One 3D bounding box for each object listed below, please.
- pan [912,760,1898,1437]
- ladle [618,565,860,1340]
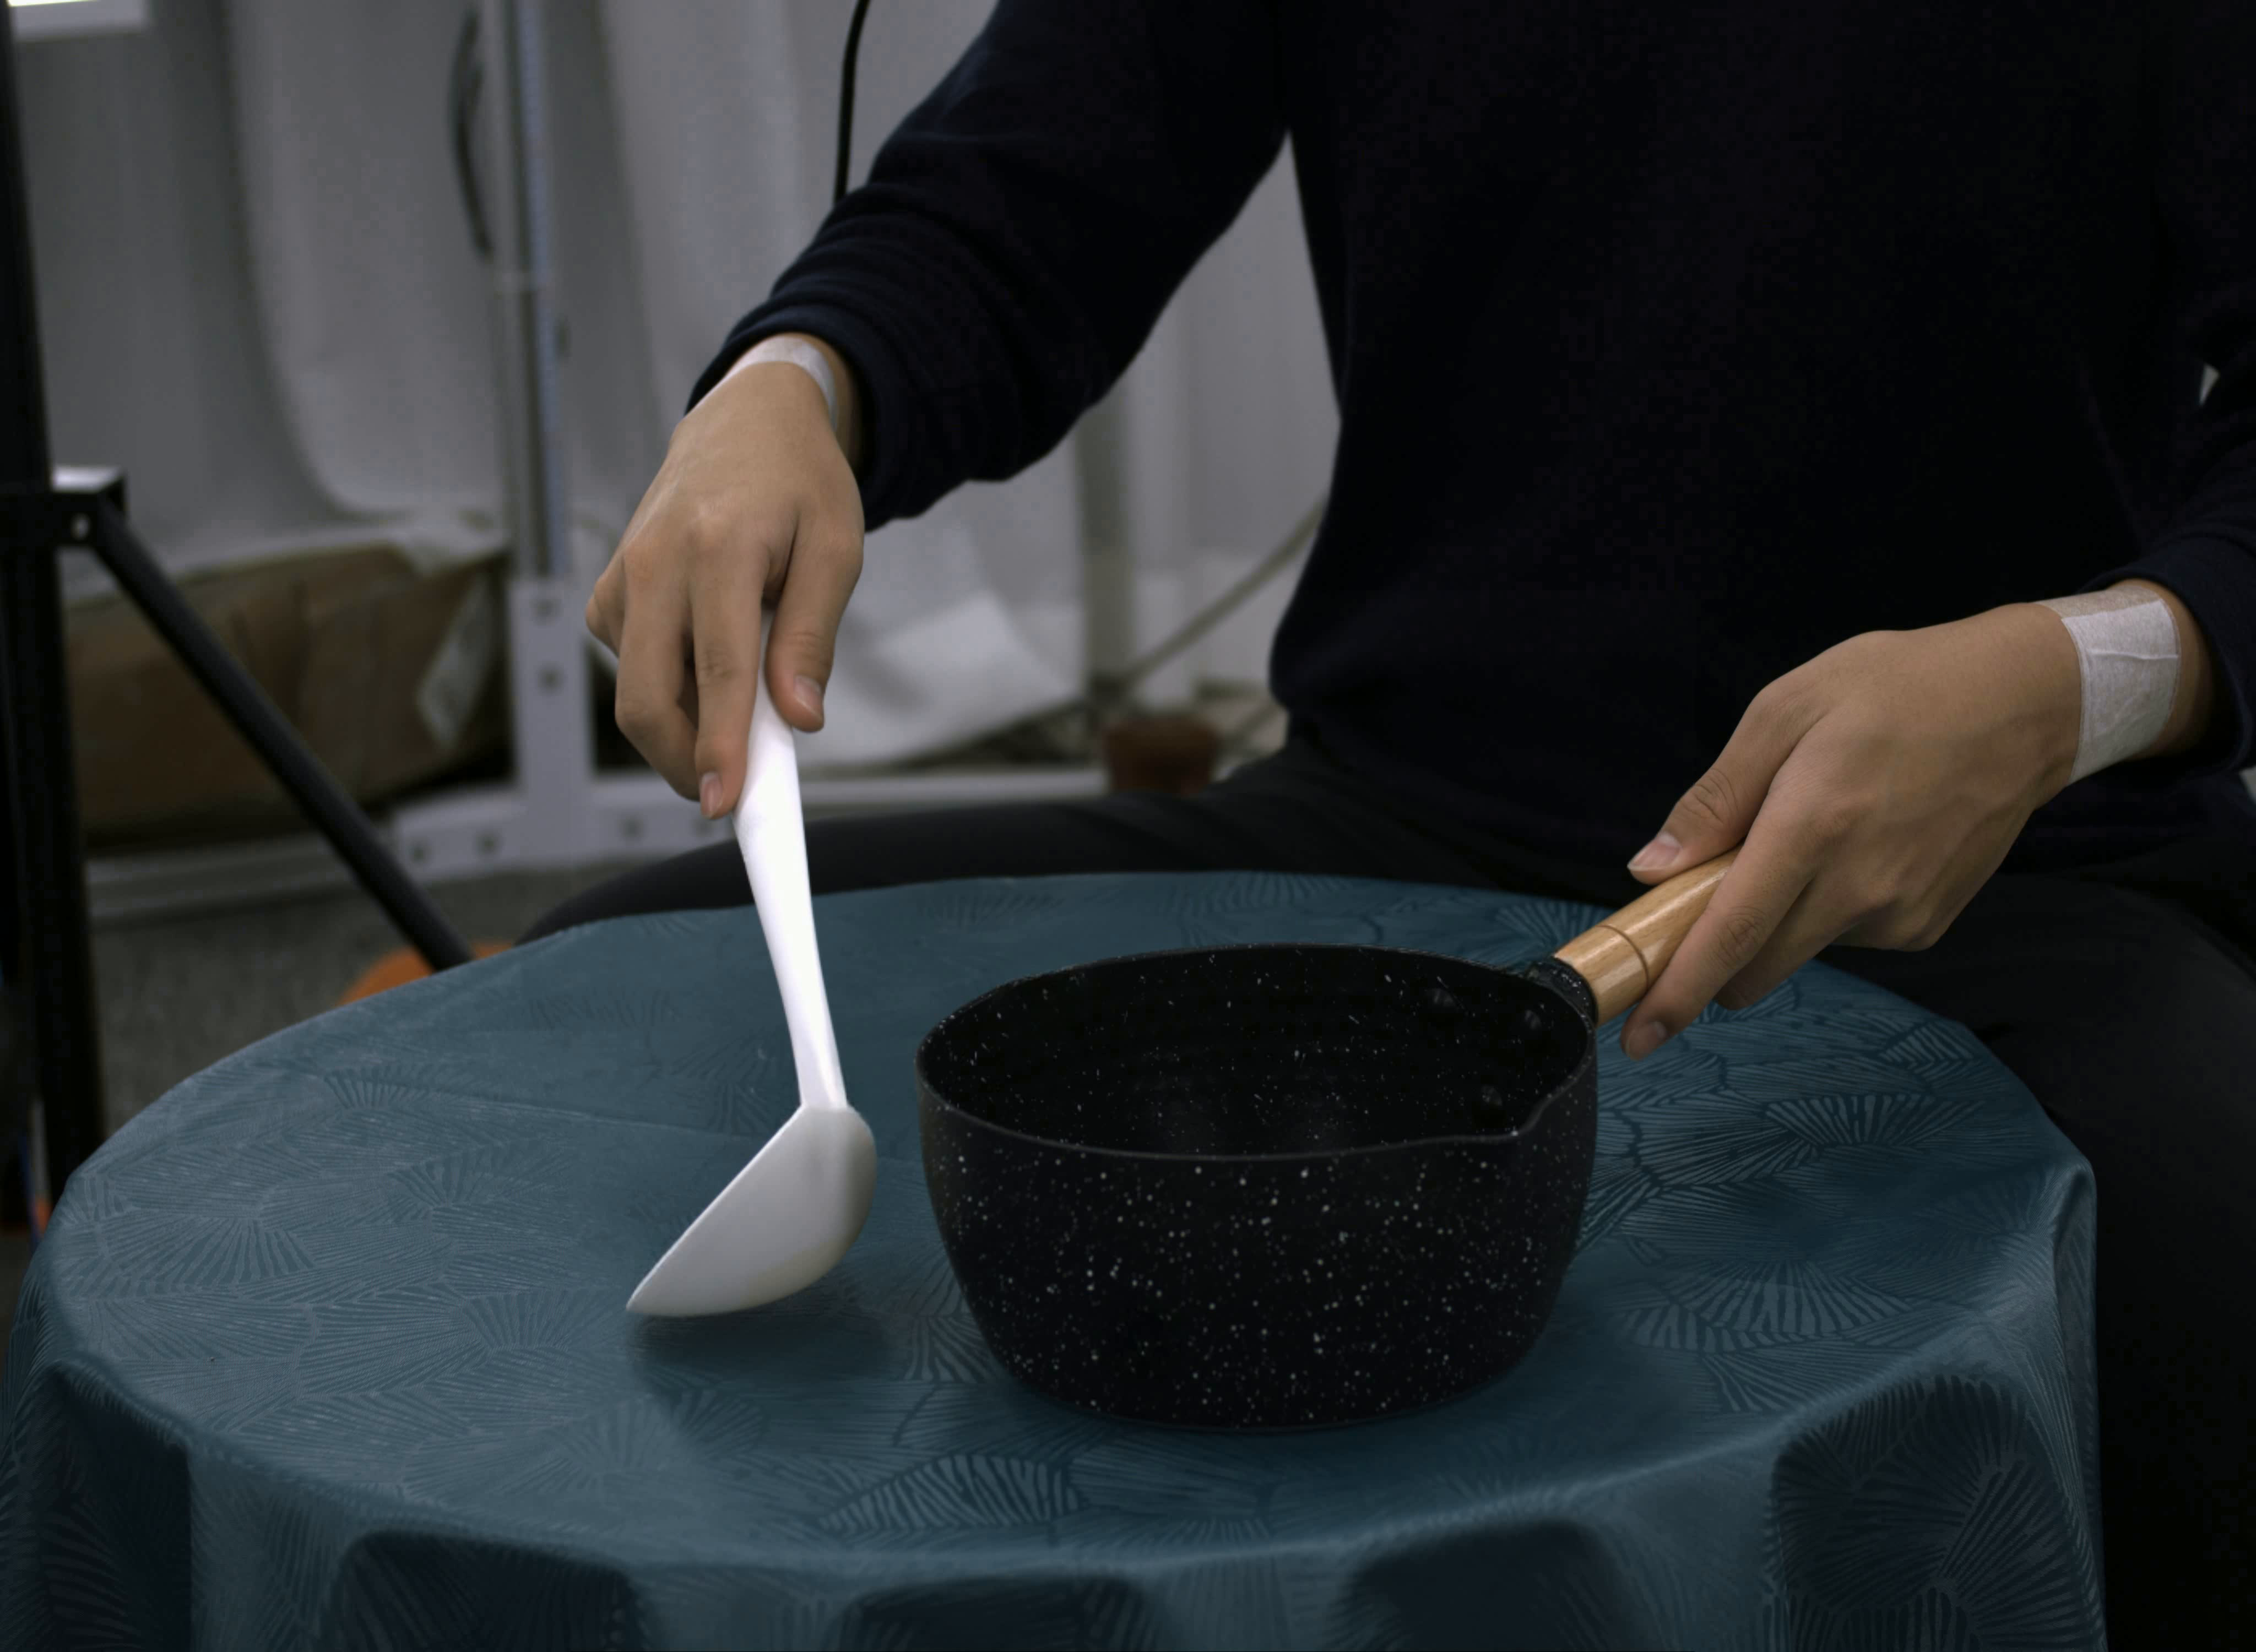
[{"bbox_3d":[0.094,0.070,1.477,0.335,0.108,0.212,-17,20,-38],"label":"pan"},{"bbox_3d":[-0.120,0.028,1.551,0.068,0.091,0.297,14,40,-23],"label":"ladle"}]
